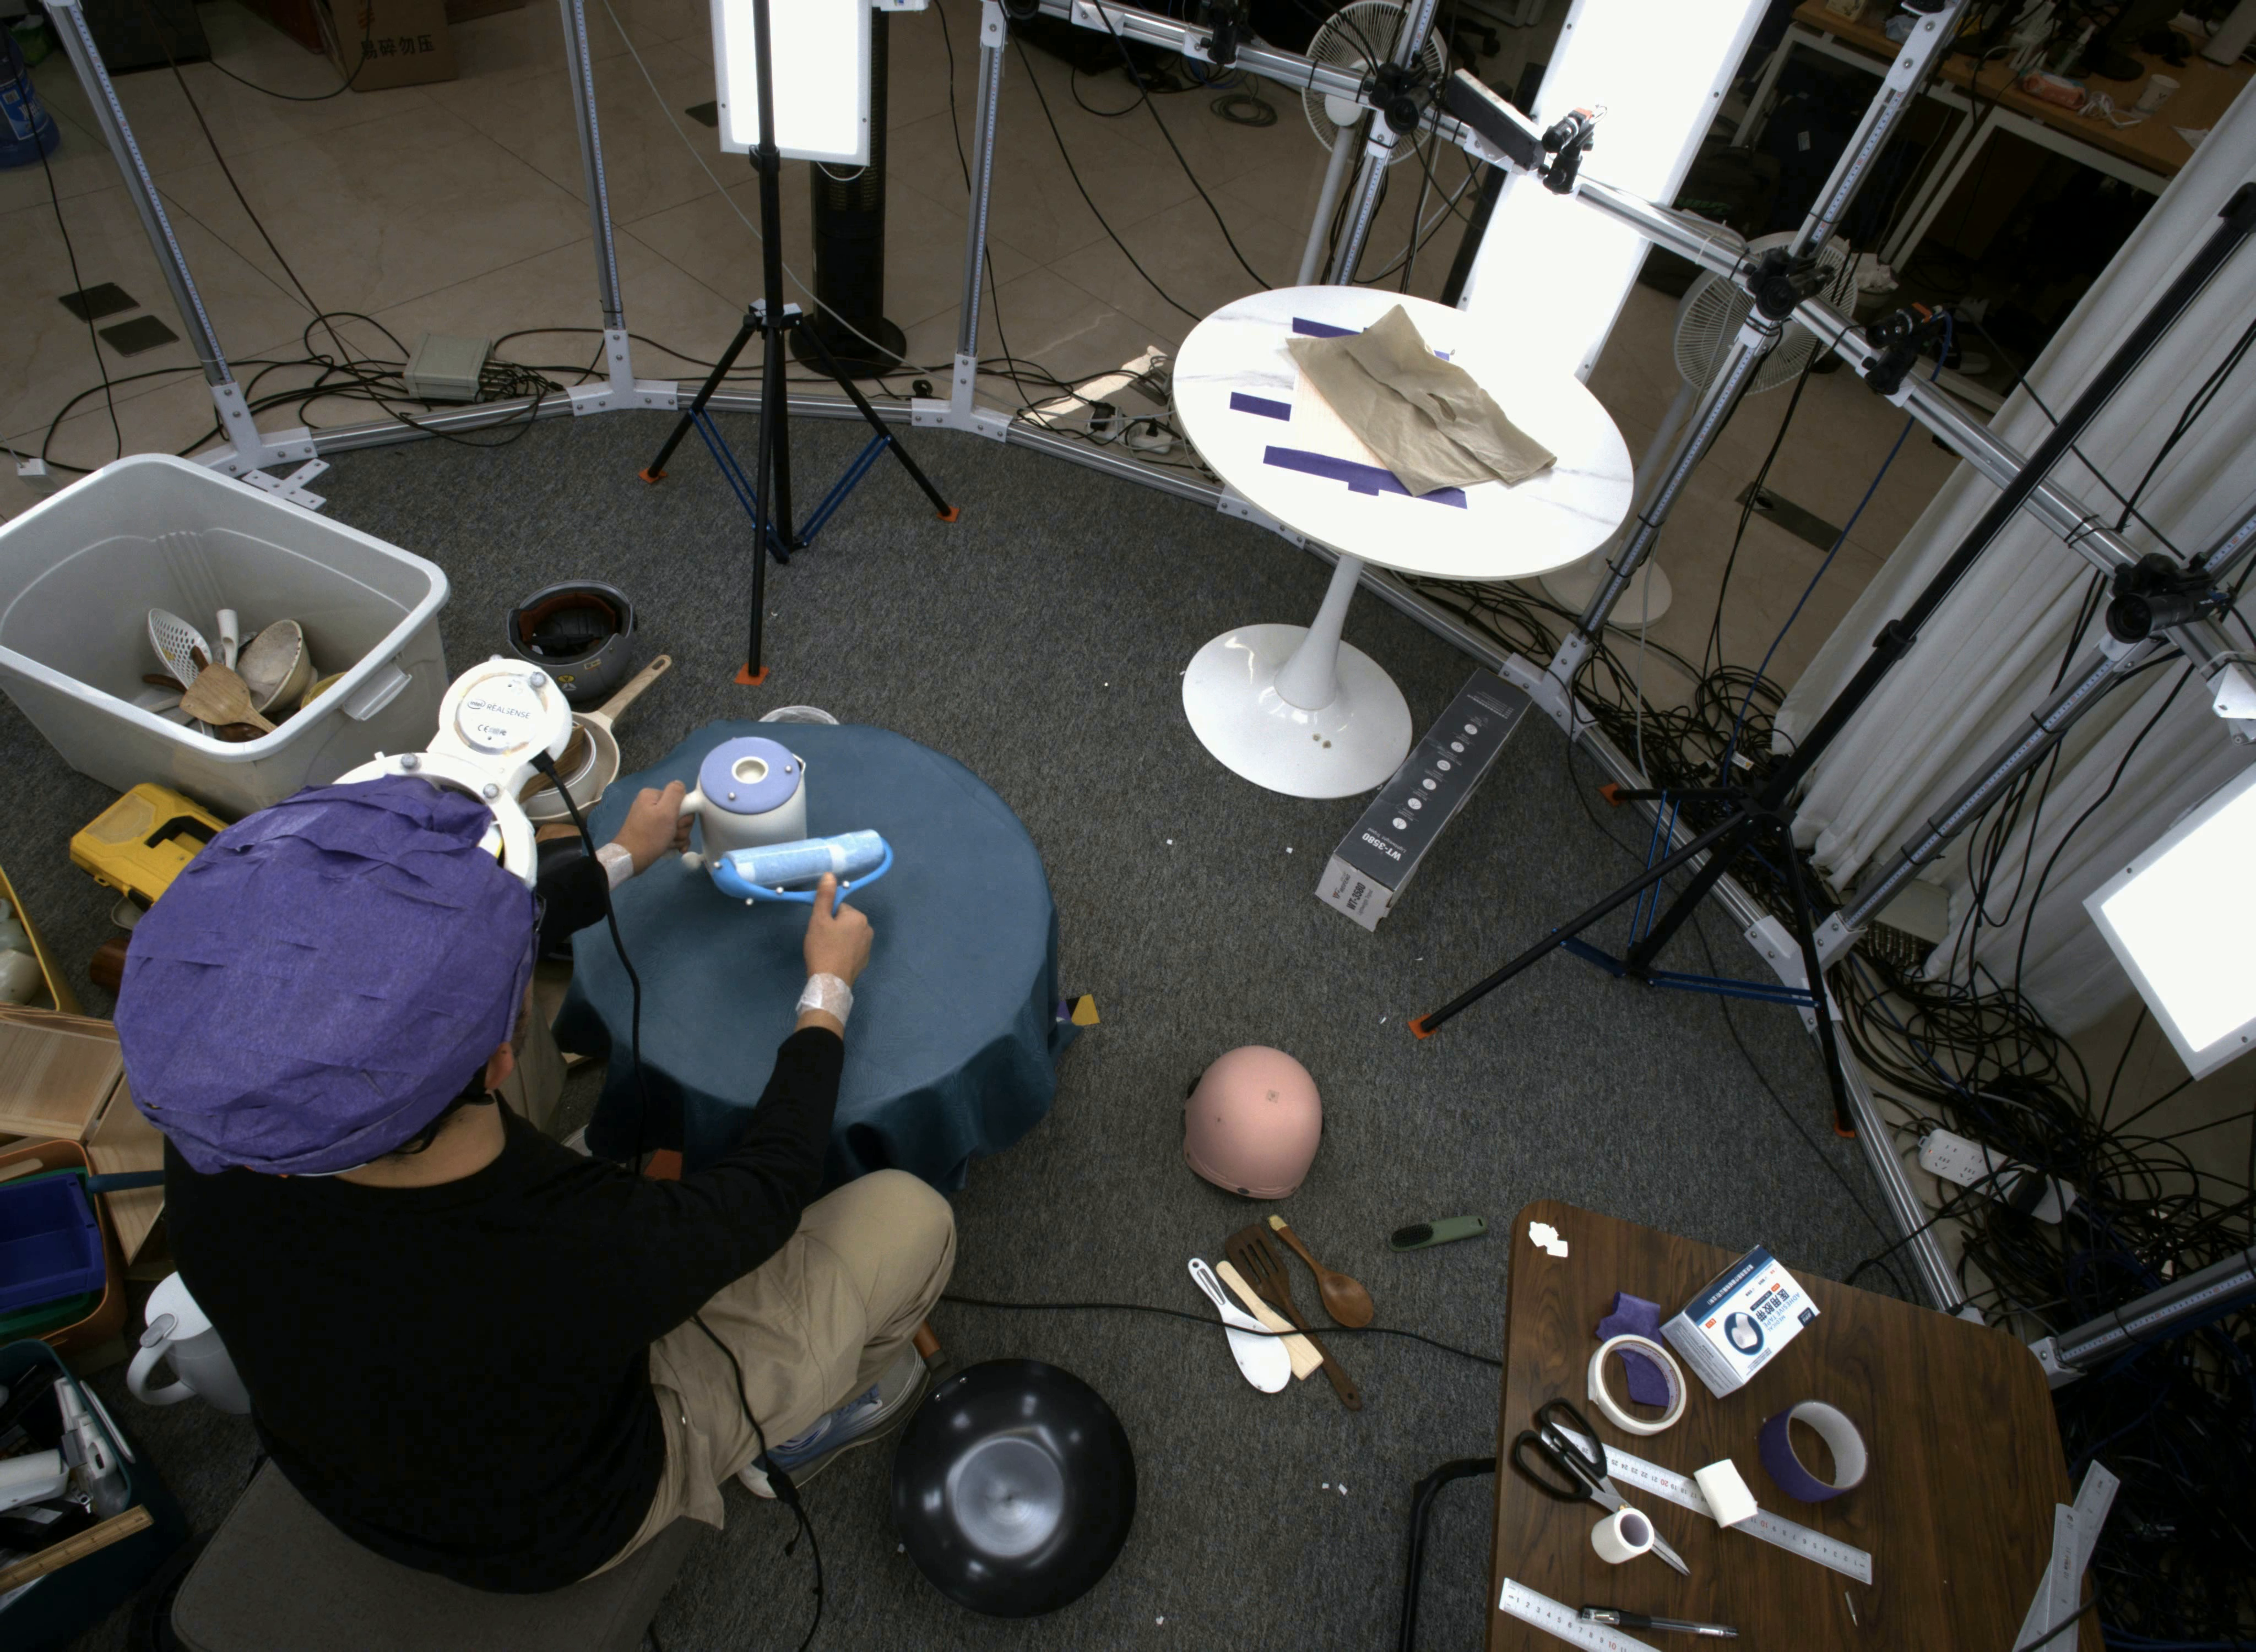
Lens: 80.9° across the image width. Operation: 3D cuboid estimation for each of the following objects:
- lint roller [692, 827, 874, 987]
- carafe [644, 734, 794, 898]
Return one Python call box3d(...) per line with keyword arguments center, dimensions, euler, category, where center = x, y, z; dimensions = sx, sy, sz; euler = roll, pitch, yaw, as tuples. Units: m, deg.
box3d(center=(-0.386, 0.095, 1.539), dimensions=(0.232, 0.067, 0.179), euler=(-14, 77, -44), category="lint roller")
box3d(center=(-0.504, -0.005, 1.590), dimensions=(0.192, 0.187, 0.129), euler=(-21, 59, -24), category="carafe")
